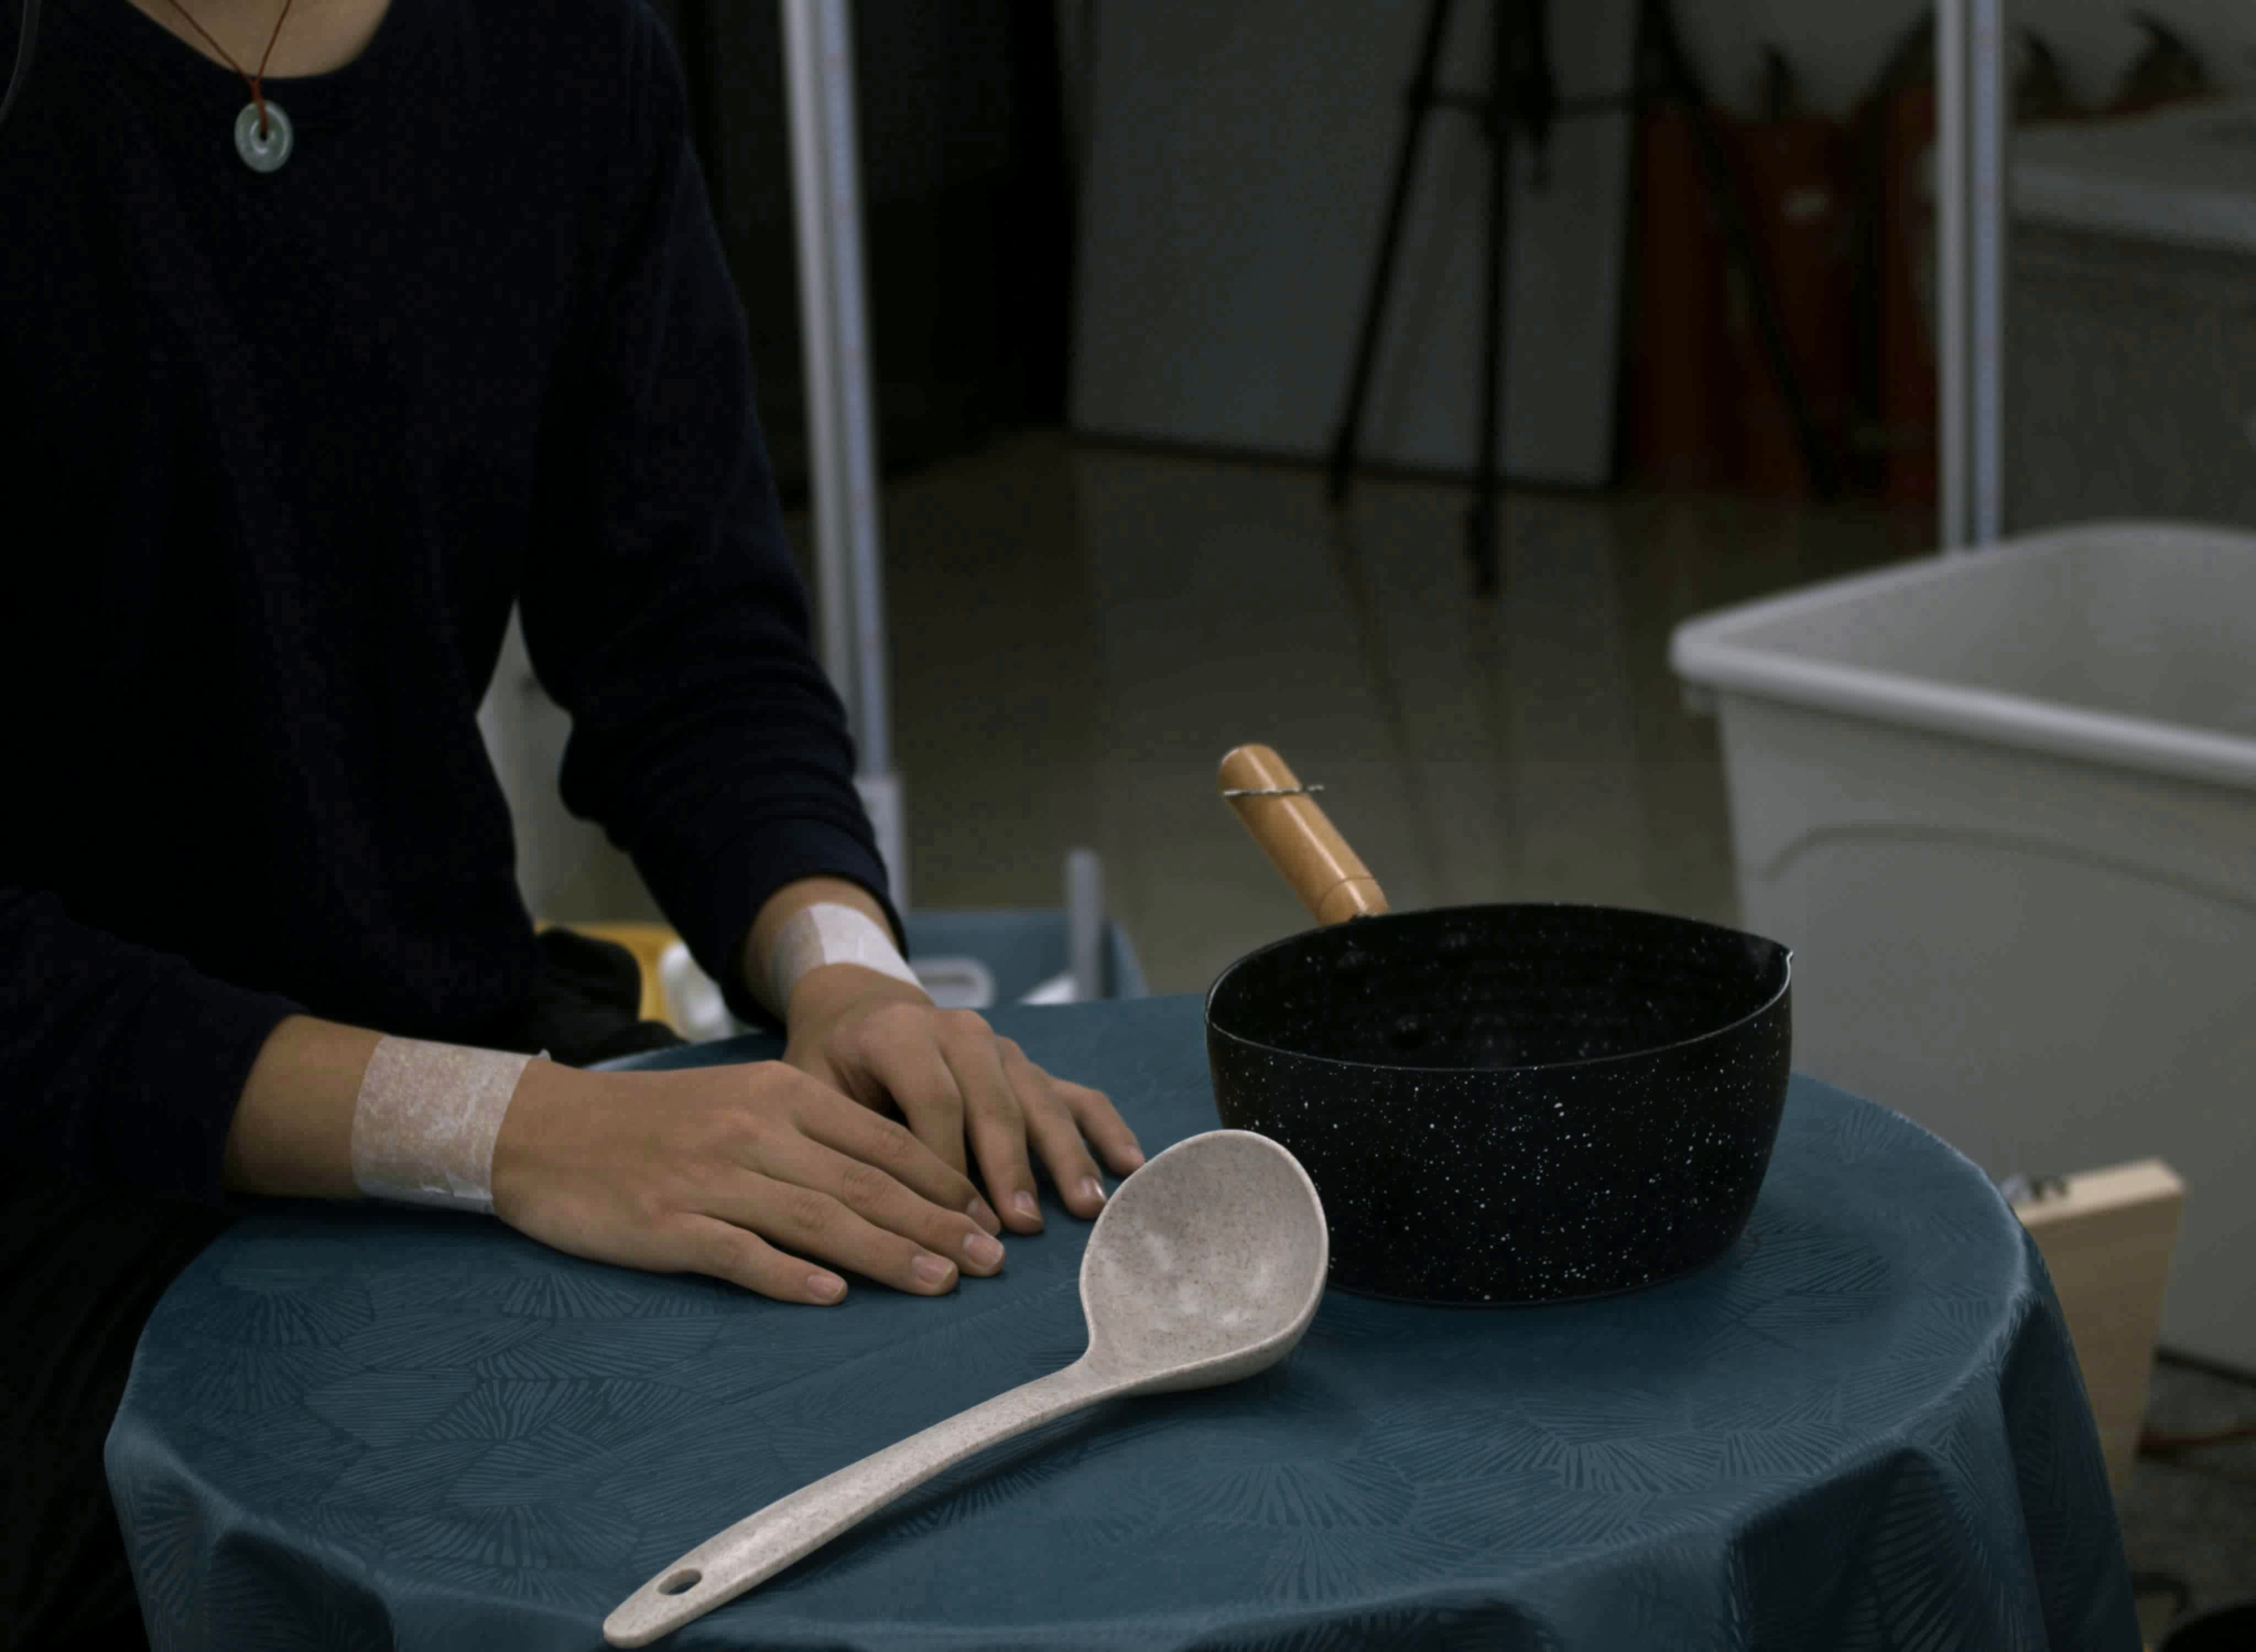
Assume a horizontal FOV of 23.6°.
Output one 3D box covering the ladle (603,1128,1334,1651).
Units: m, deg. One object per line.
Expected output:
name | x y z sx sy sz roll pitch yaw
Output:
ladle | -0.046 0.154 1.513 0.090 0.070 0.269 17 25 38

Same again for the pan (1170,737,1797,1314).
pan | 0.093 0.060 1.765 0.203 0.109 0.346 -9 16 -16
